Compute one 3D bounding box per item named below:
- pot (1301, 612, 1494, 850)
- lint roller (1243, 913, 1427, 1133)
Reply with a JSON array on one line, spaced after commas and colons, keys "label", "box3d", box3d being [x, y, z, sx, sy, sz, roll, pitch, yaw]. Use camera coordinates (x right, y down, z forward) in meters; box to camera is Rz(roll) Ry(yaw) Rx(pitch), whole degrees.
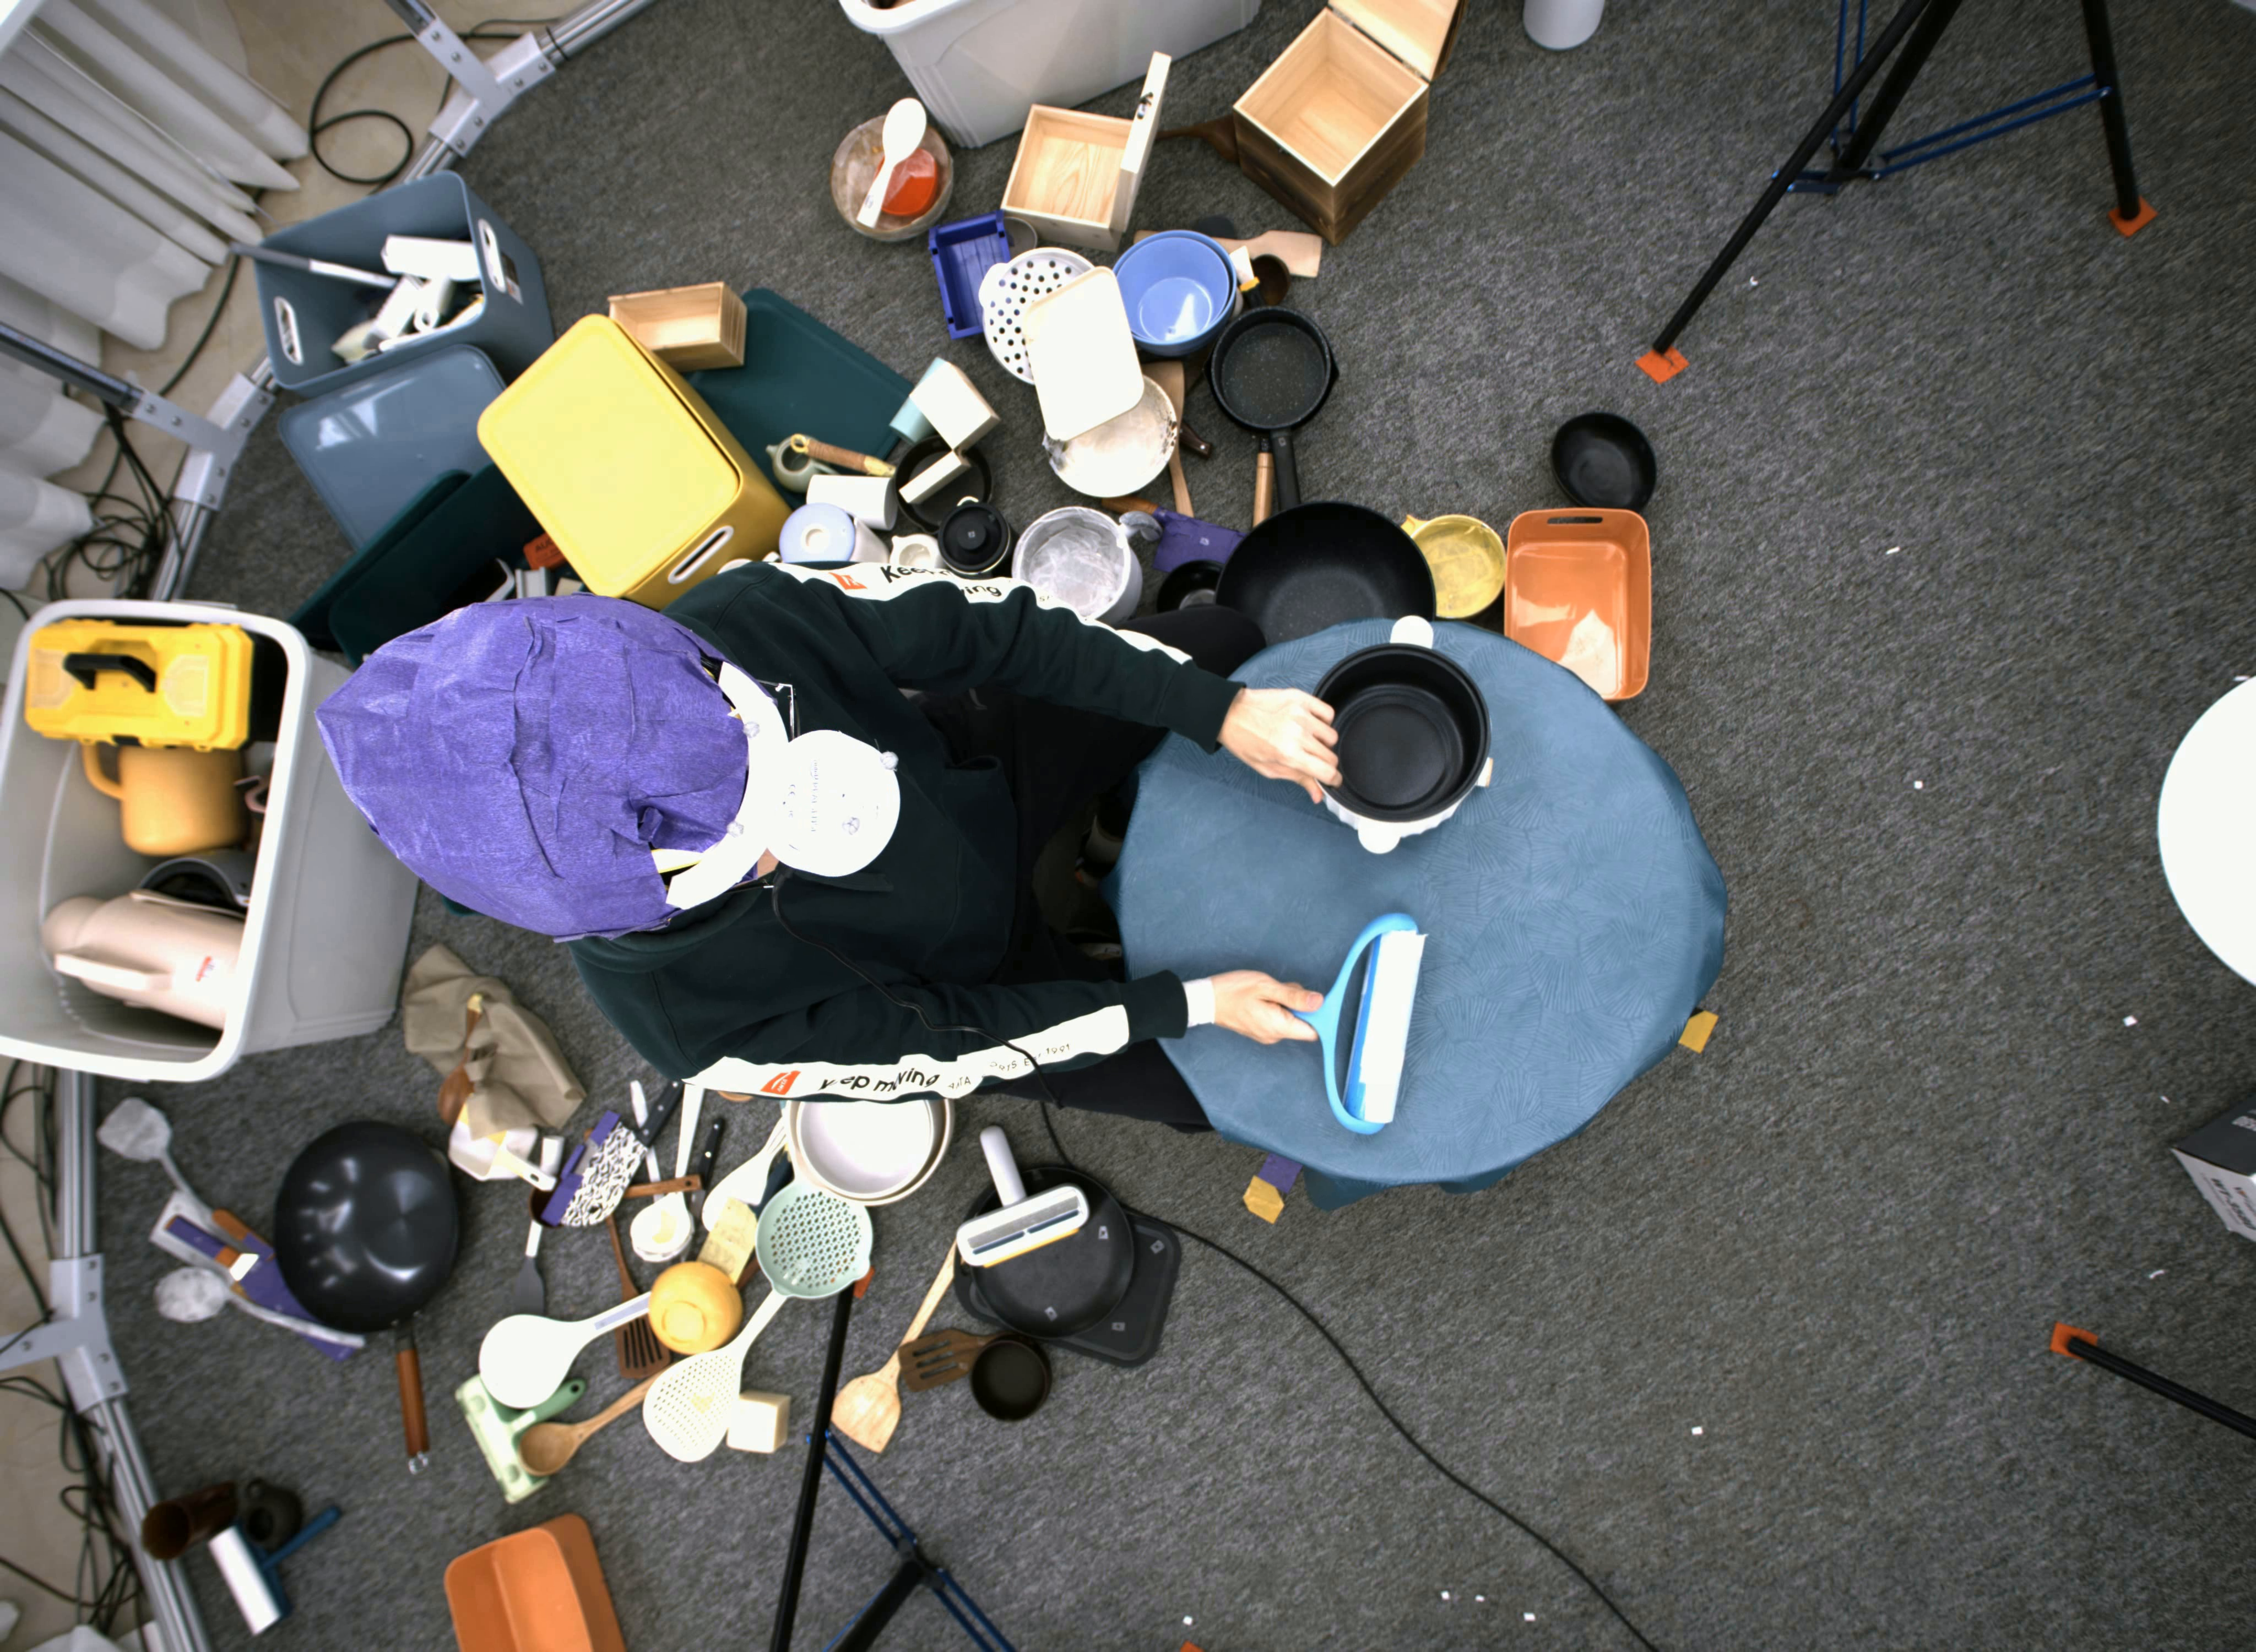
[{"label": "pot", "box3d": [0.274, -0.083, 1.388, 0.191, 0.143, 0.238, 8, 83, 13]}, {"label": "lint roller", "box3d": [0.205, 0.194, 1.424, 0.181, 0.067, 0.230, 7, 96, 10]}]
